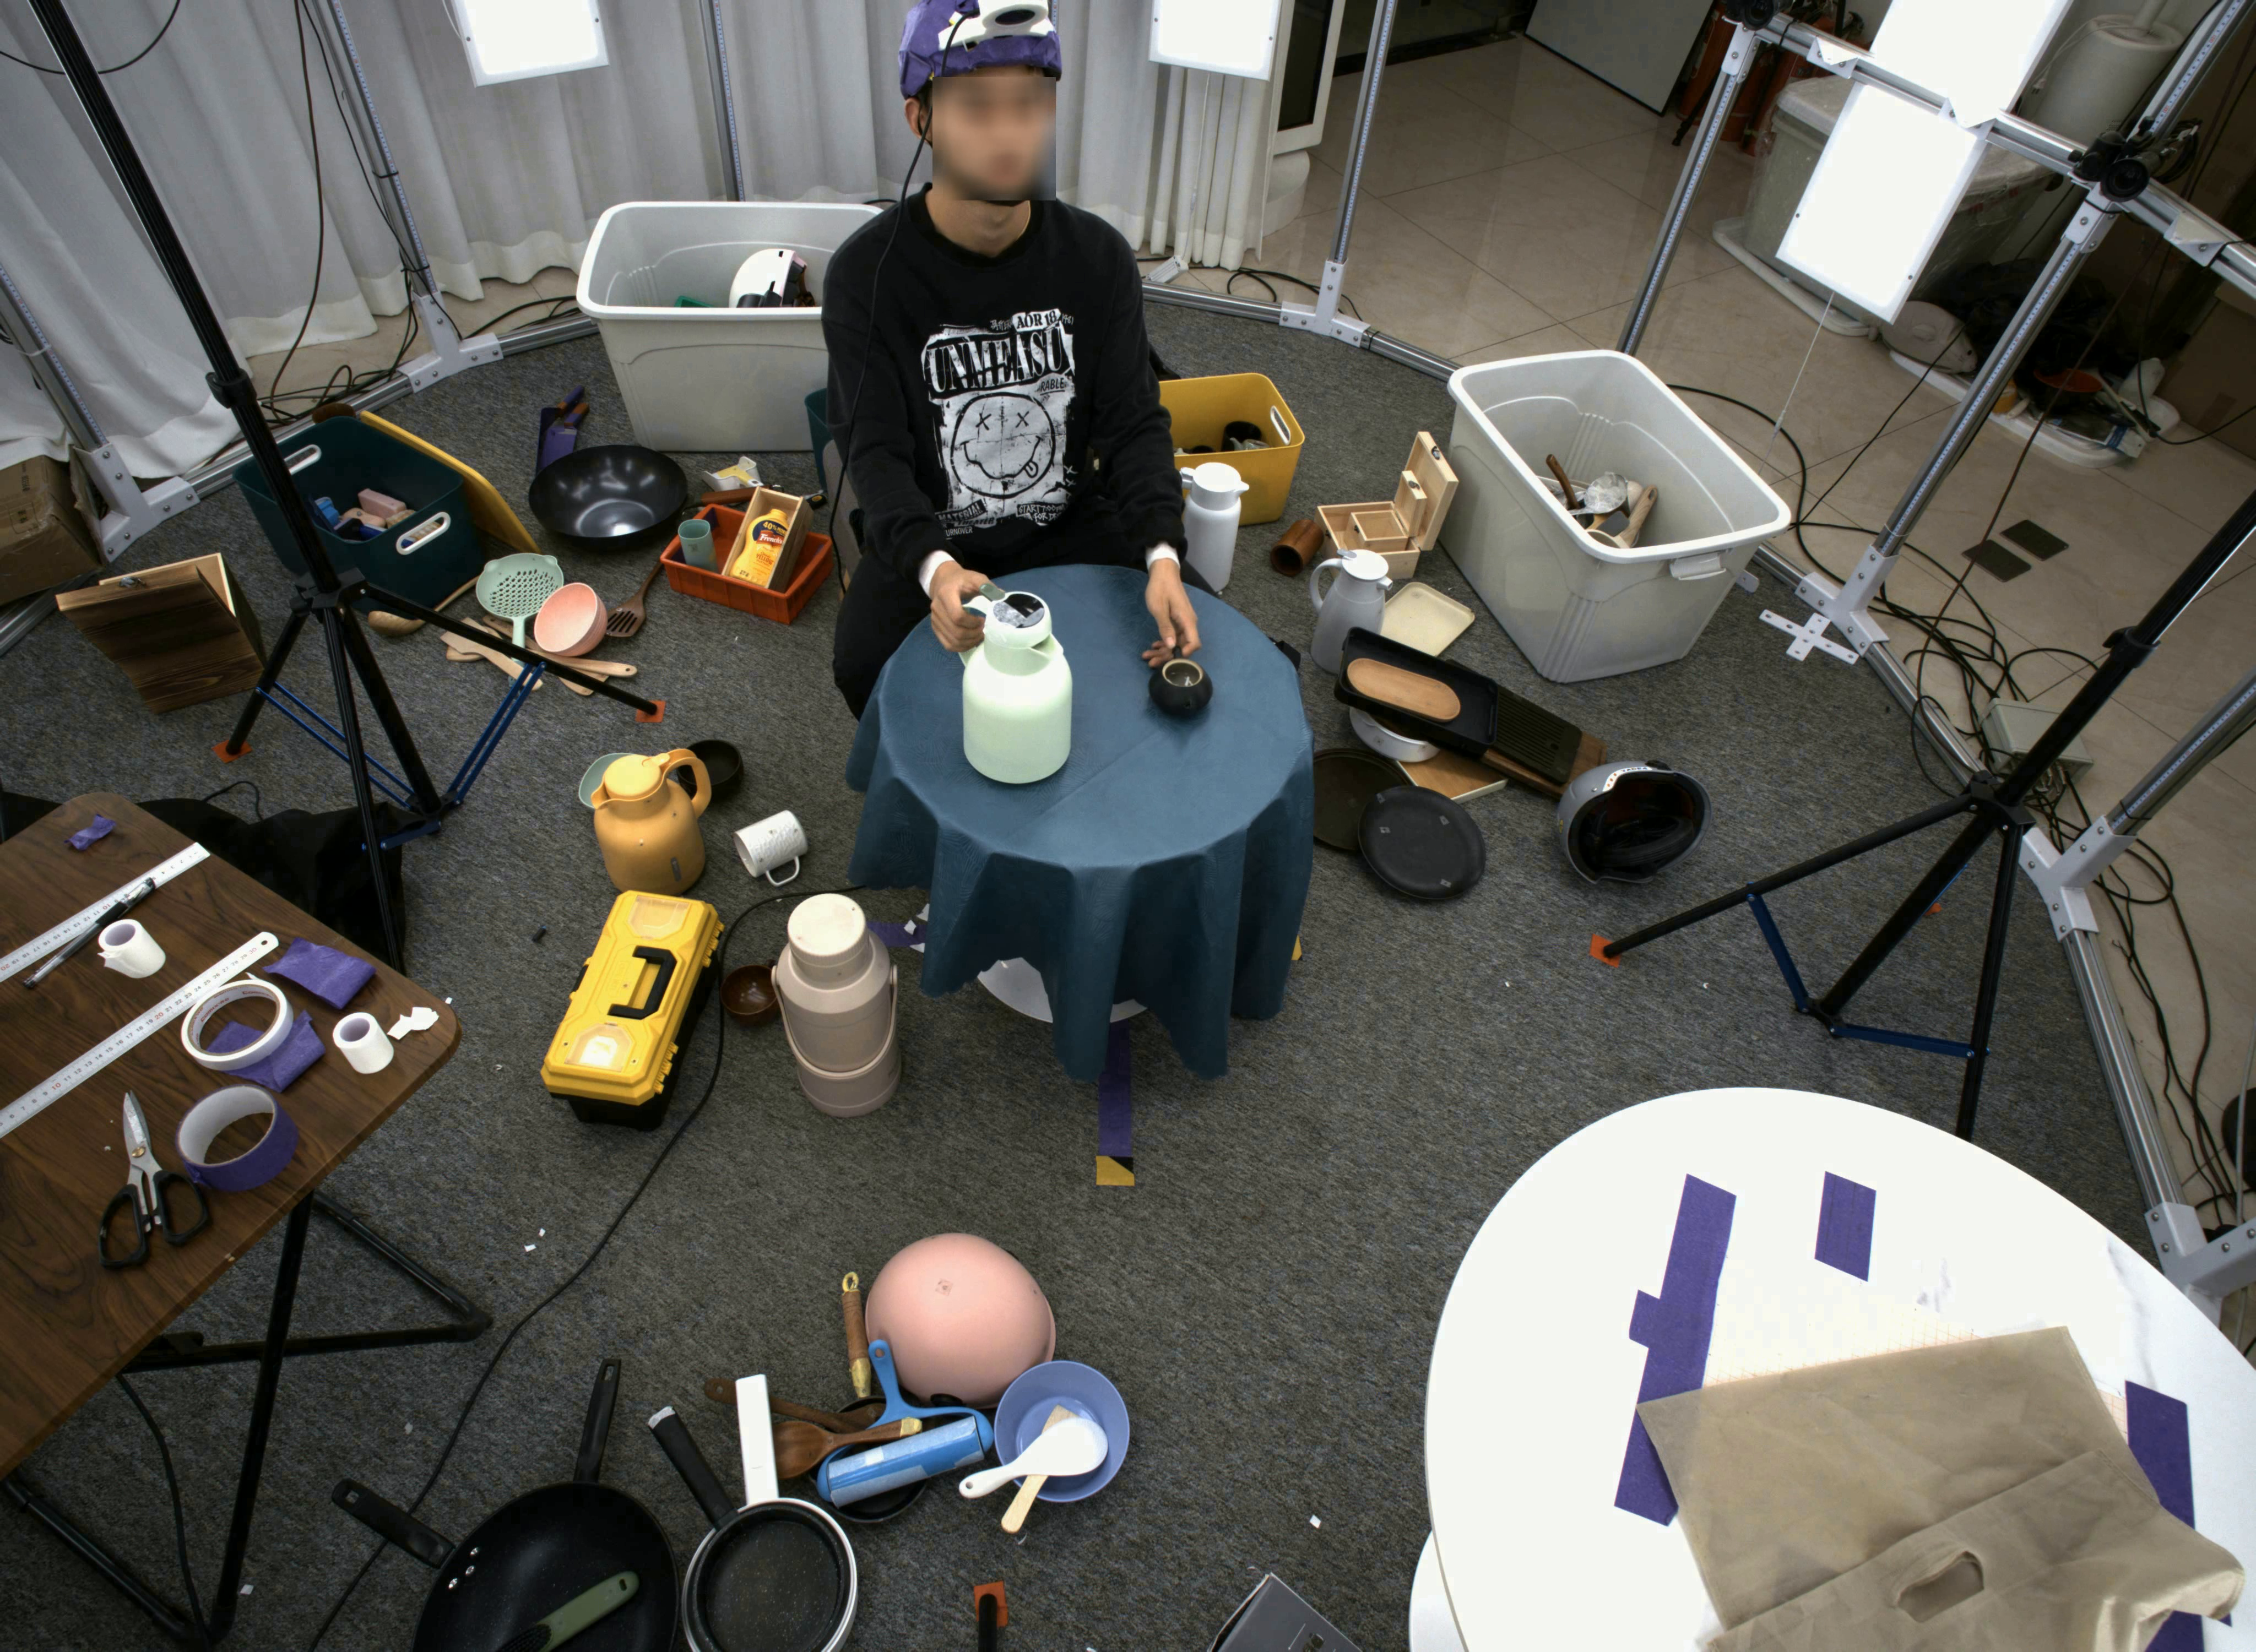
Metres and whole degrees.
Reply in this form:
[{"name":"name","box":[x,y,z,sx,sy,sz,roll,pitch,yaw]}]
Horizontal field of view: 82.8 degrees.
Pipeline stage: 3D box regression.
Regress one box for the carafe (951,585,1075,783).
[{"name":"carafe","box":[-0.152,-0.191,1.665,0.189,0.250,0.145,35,58,28]}]

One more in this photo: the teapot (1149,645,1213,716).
[{"name":"teapot","box":[0.075,-0.199,1.812,0.091,0.052,0.136,-1,50,-7]}]
